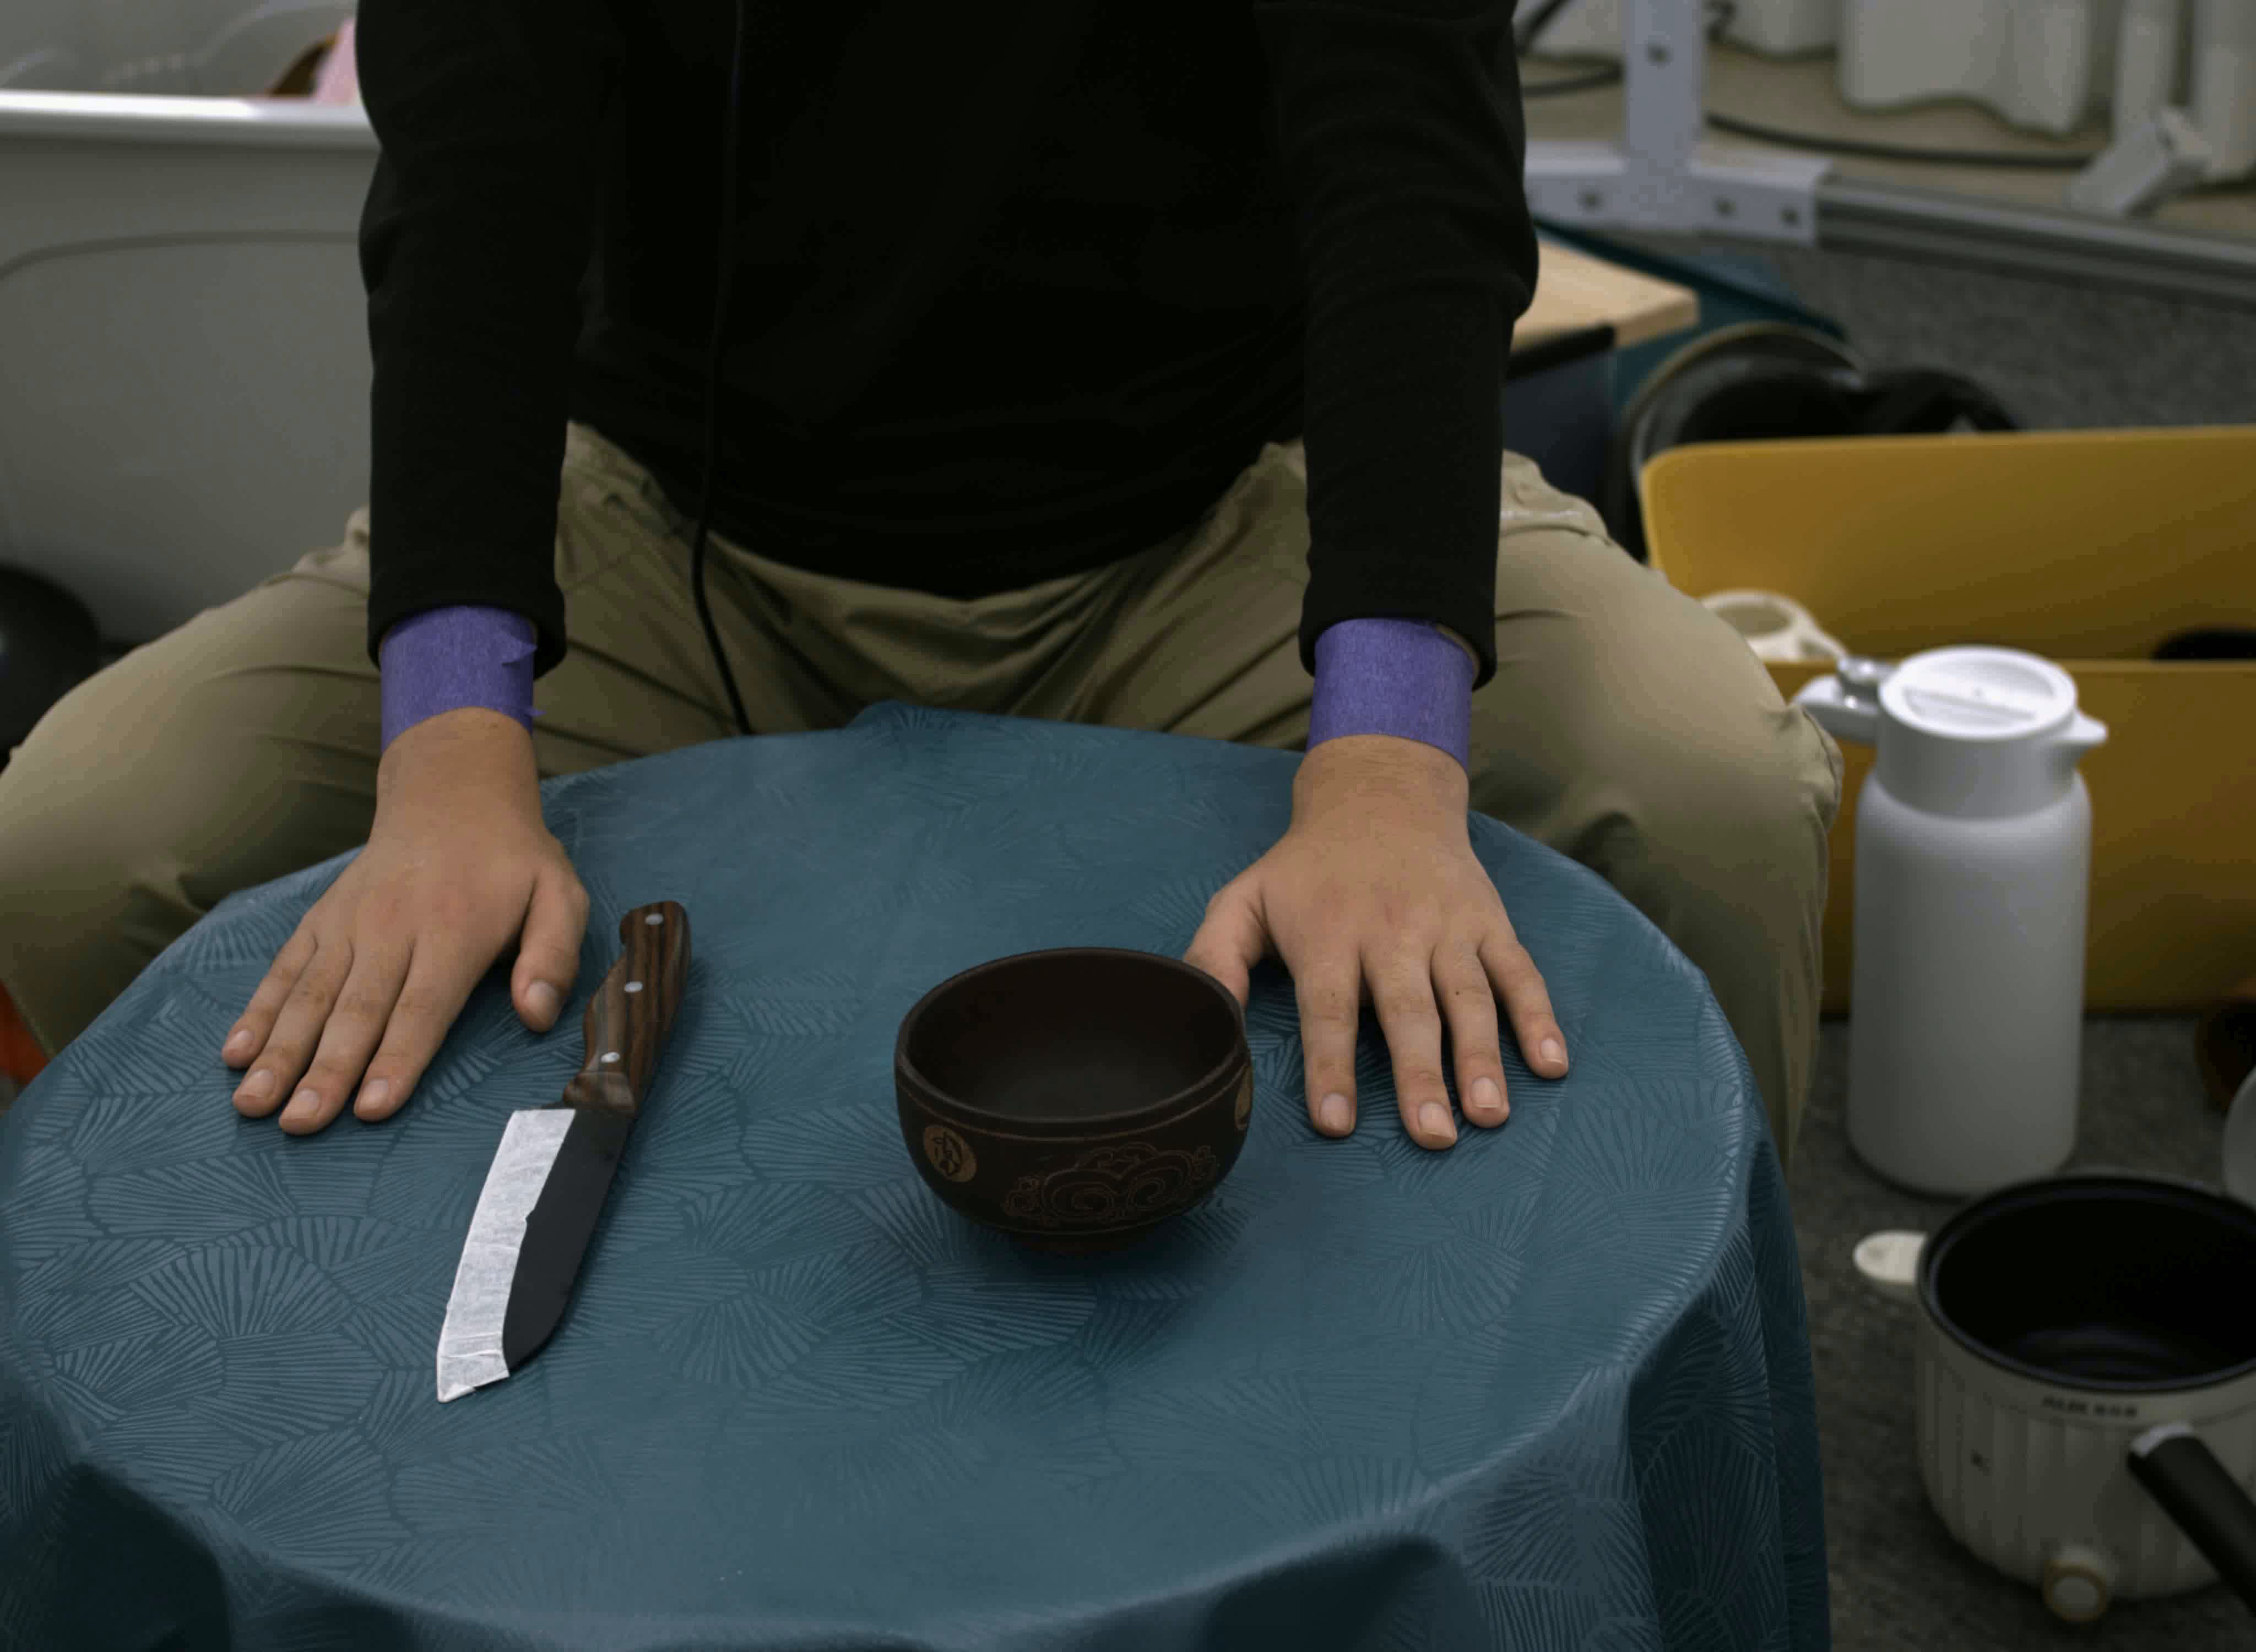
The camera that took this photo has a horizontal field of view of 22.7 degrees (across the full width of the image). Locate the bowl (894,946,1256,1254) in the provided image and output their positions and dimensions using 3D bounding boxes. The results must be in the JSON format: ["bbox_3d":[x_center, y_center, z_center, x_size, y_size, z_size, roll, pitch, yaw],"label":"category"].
[{"bbox_3d":[-0.016,0.096,1.835,0.117,0.069,0.120,-3,26,2],"label":"bowl"}]

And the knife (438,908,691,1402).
[{"bbox_3d":[-0.188,0.109,1.886,0.050,0.020,0.294,-2,29,12],"label":"knife"}]
